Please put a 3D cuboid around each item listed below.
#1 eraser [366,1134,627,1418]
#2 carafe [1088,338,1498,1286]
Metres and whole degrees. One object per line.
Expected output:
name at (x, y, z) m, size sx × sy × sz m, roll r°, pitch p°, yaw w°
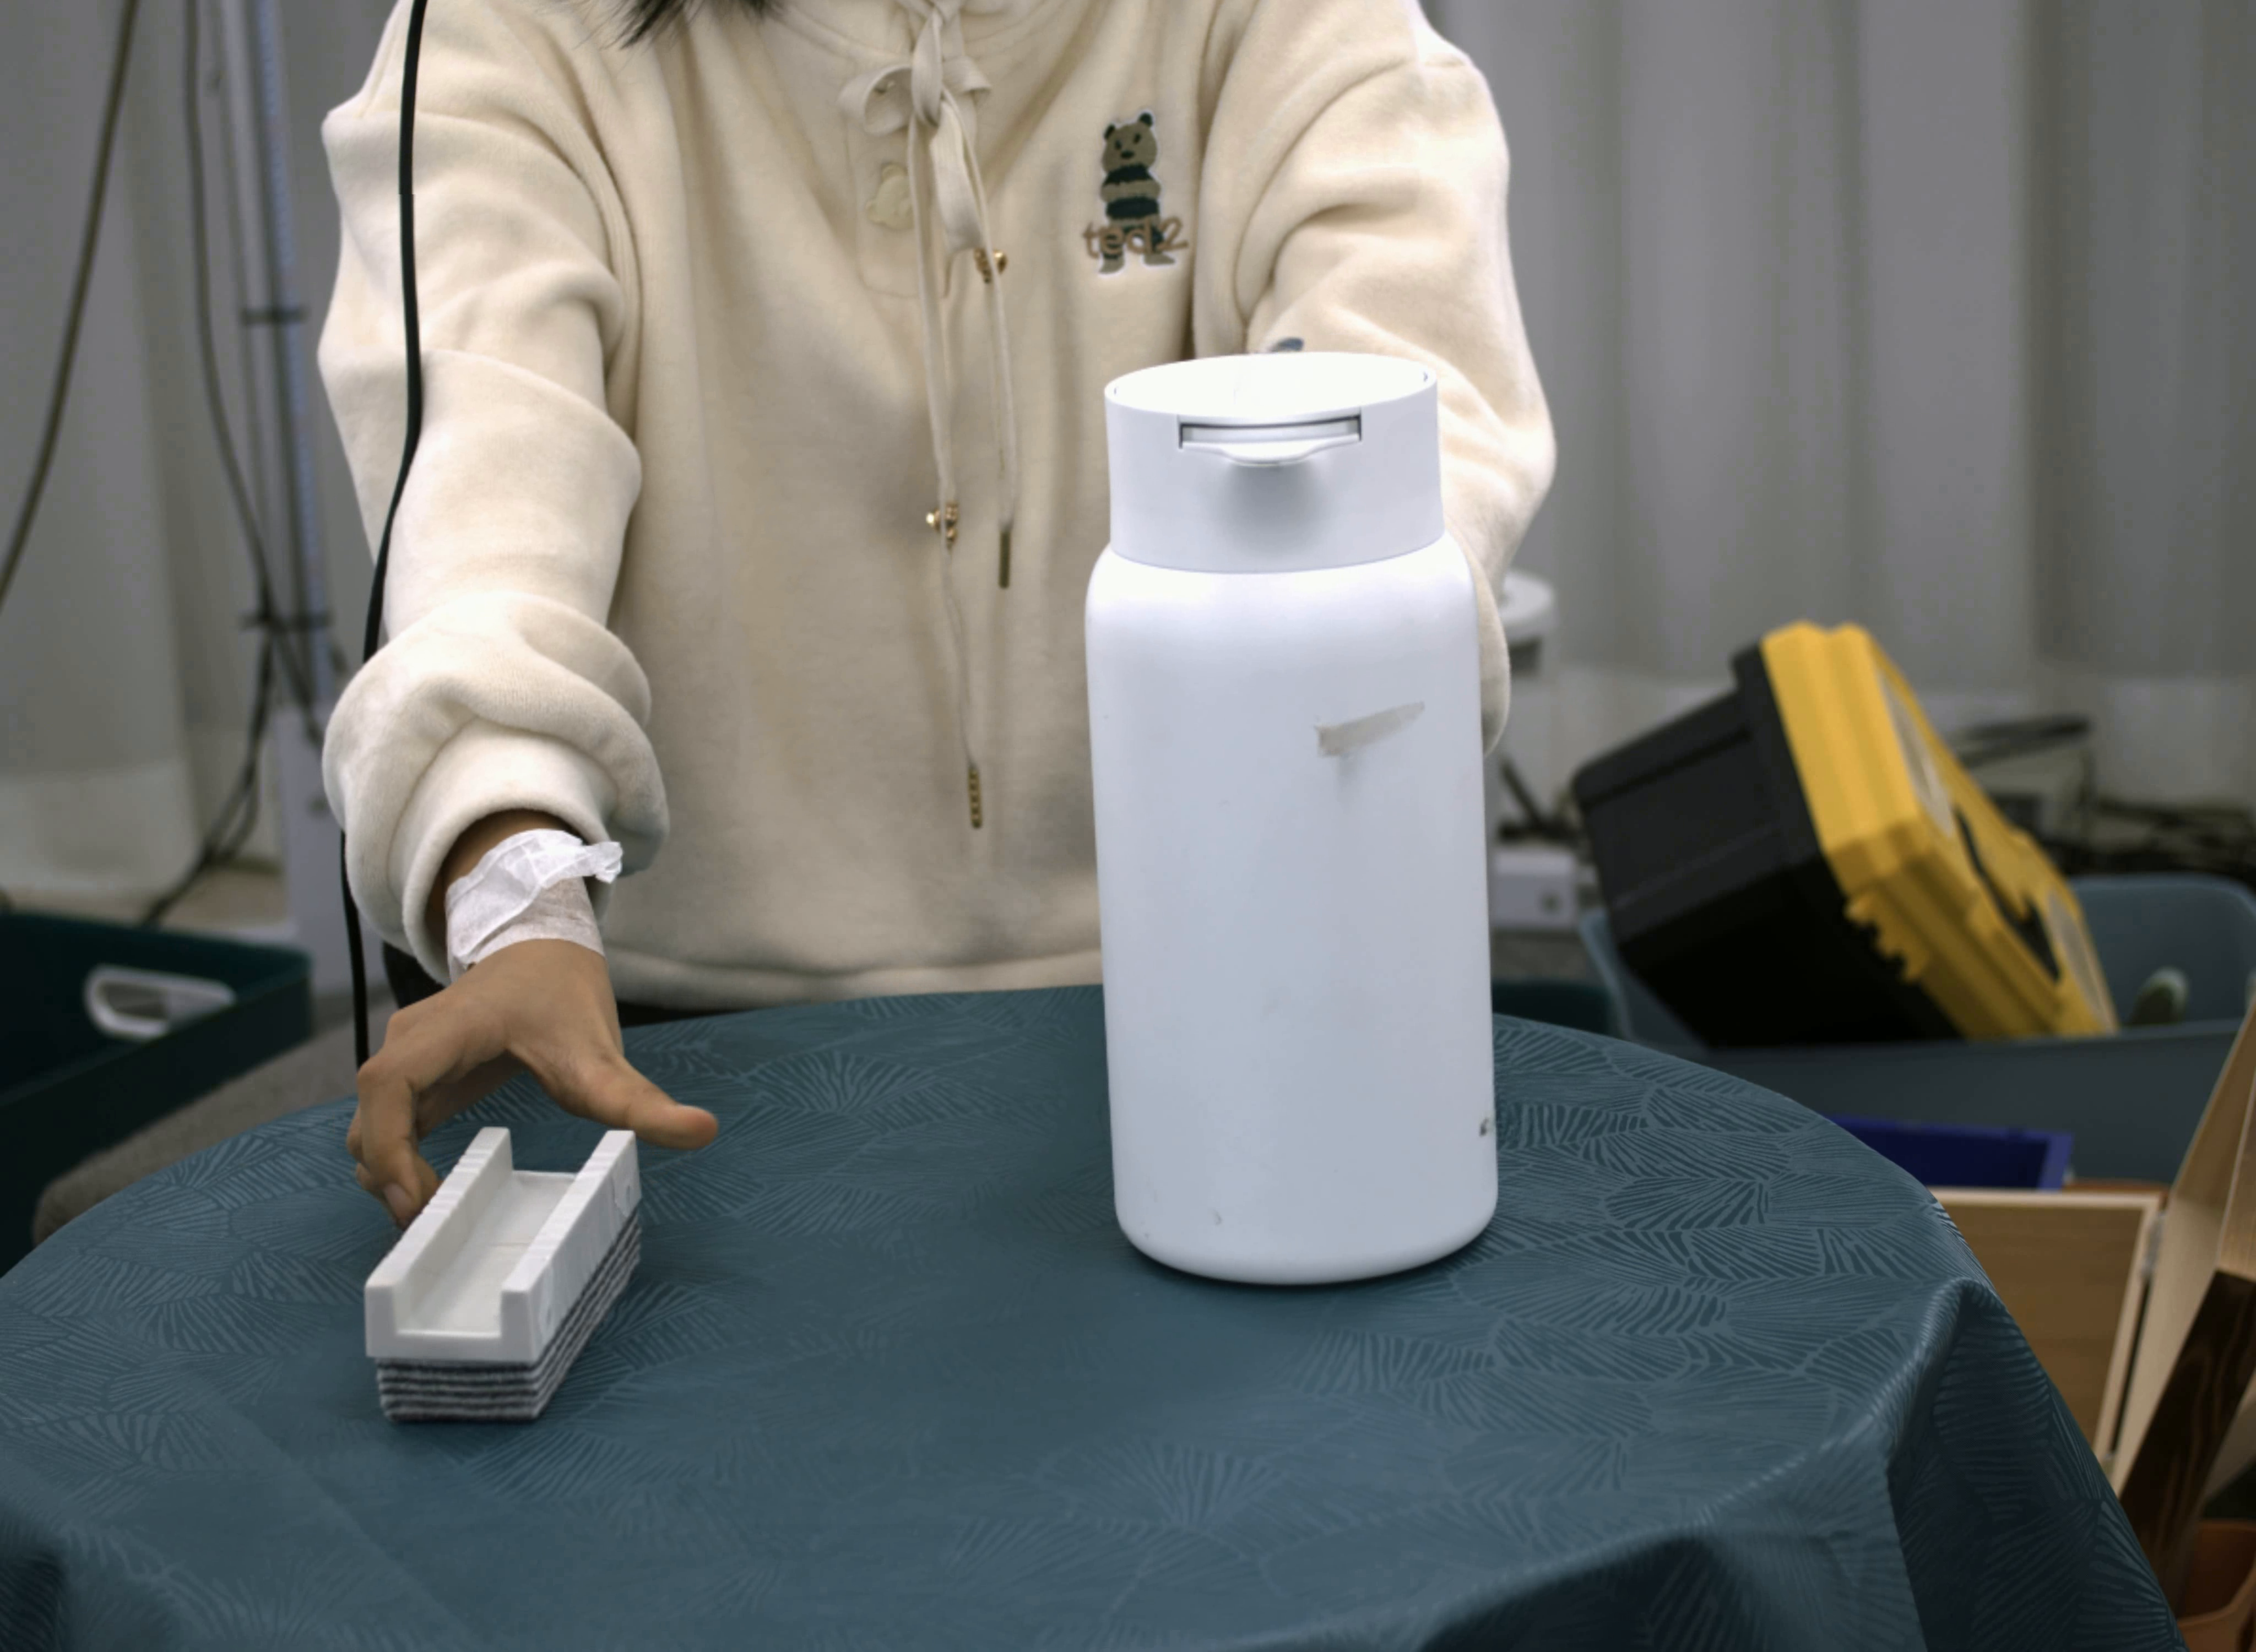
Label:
eraser at (-0.183, 0.130, 1.601) m, size 0.049 × 0.046 × 0.135 m, roll -3°, pitch 15°, yaw 7°
carafe at (0.048, -0.009, 1.655) m, size 0.123 × 0.268 × 0.174 m, roll -4°, pitch 14°, yaw 3°
